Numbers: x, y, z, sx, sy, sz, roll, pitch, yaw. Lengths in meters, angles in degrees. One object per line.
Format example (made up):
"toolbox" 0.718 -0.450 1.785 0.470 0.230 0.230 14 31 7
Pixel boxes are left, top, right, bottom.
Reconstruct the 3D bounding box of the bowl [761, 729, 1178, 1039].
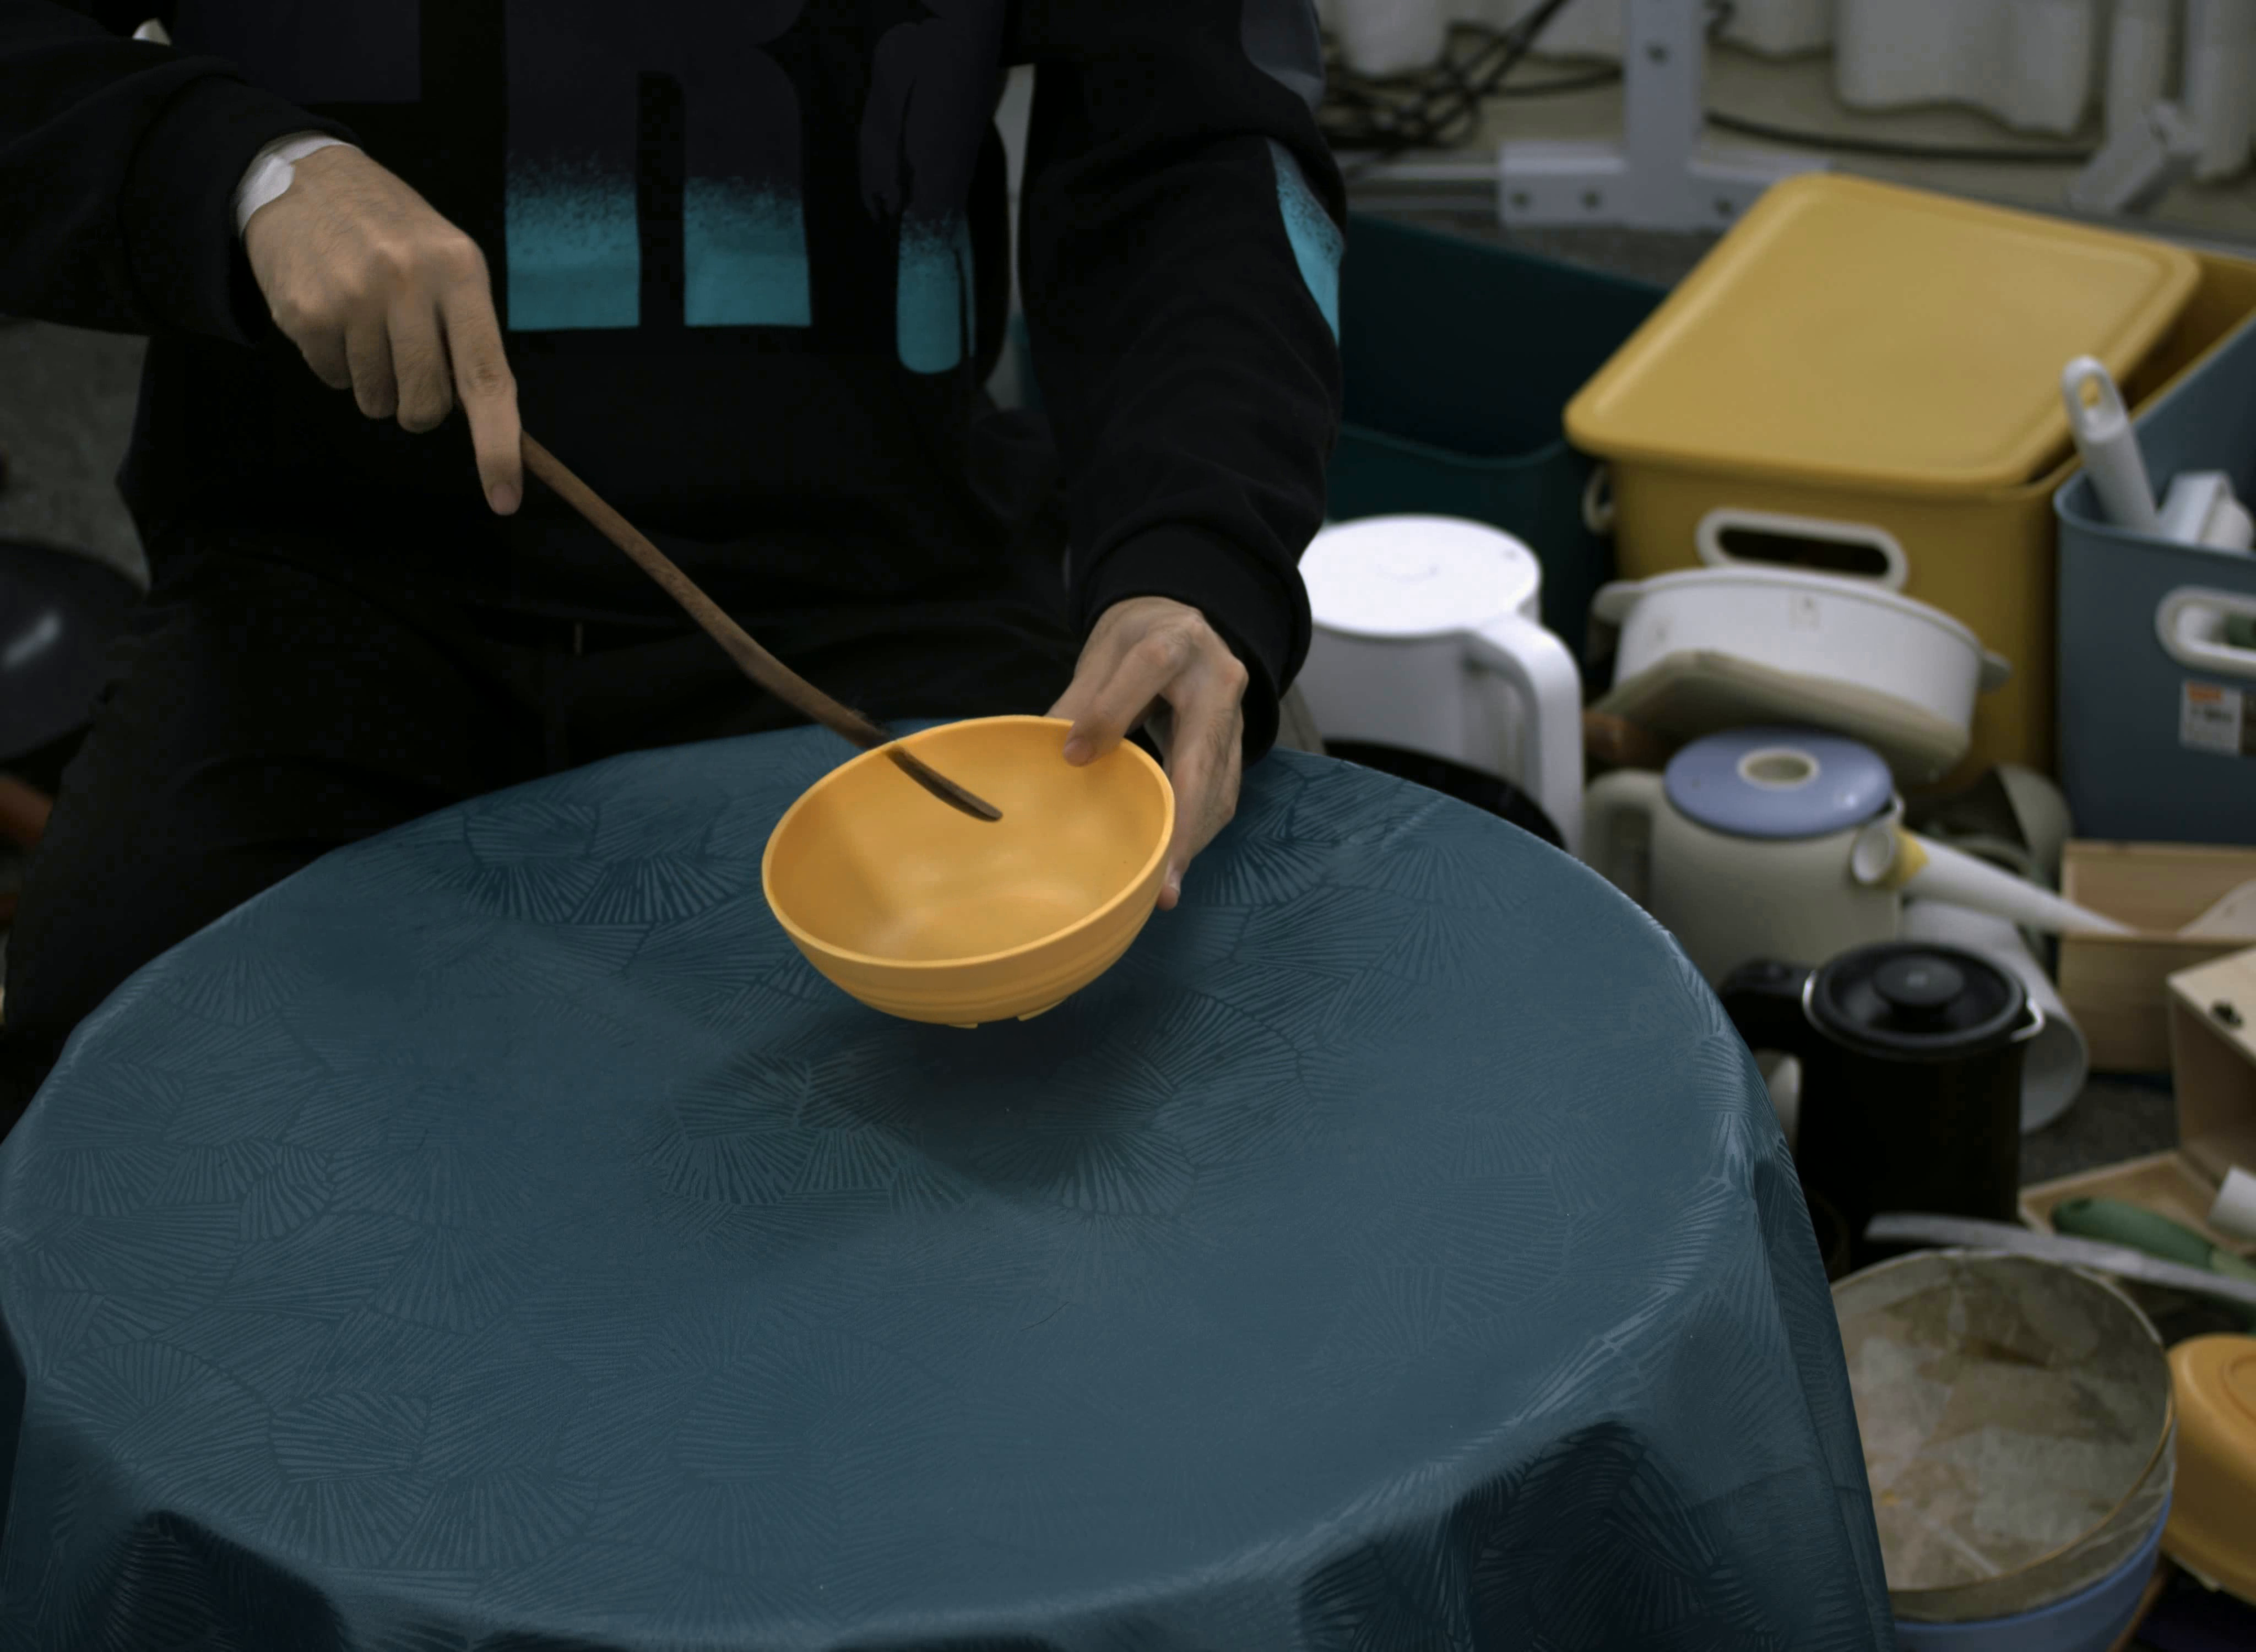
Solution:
"bowl" -0.051 0.030 1.937 0.144 0.059 0.148 -6 32 4

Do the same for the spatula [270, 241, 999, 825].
"spatula" -0.185 -0.109 1.972 0.388 0.016 0.096 40 6 32
